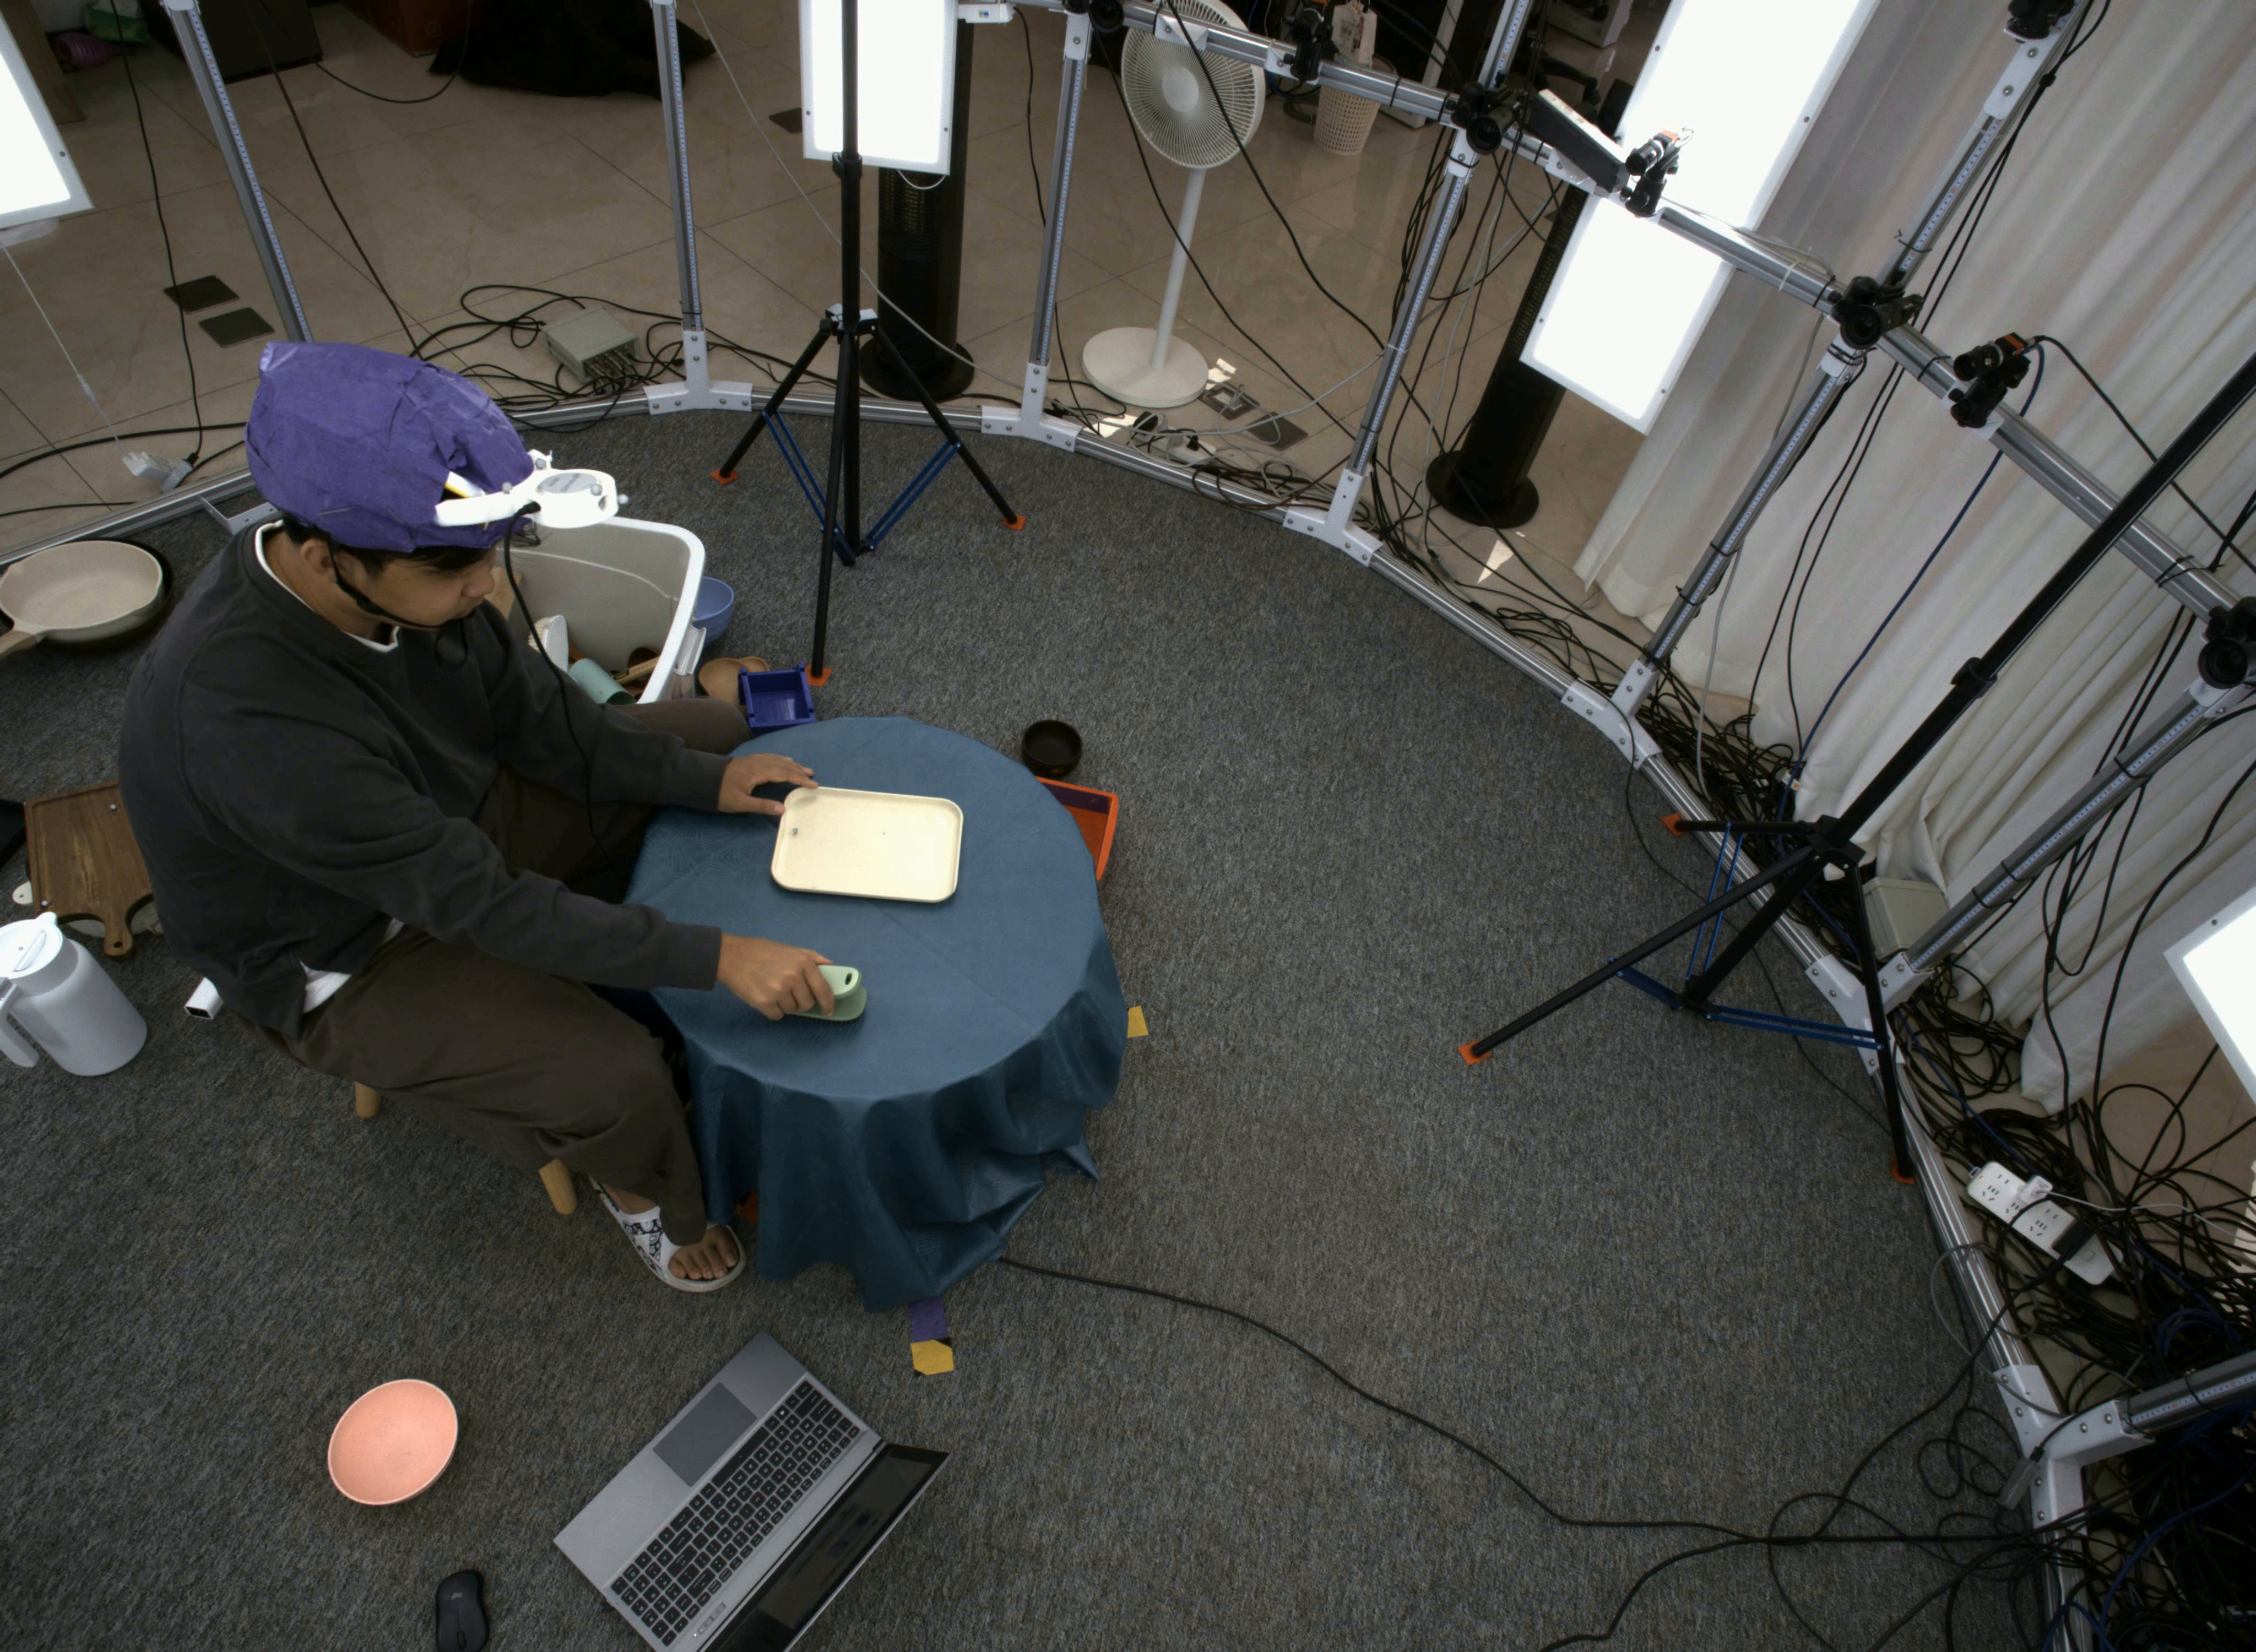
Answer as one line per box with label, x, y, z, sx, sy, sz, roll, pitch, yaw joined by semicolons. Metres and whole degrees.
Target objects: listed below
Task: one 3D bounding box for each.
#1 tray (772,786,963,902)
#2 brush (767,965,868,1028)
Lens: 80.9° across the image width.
tray;-0.339;0.024;1.712;0.239;0.018;0.168;6;52;-9
brush;-0.370;0.200;1.549;0.121;0.078;0.058;0;50;4
